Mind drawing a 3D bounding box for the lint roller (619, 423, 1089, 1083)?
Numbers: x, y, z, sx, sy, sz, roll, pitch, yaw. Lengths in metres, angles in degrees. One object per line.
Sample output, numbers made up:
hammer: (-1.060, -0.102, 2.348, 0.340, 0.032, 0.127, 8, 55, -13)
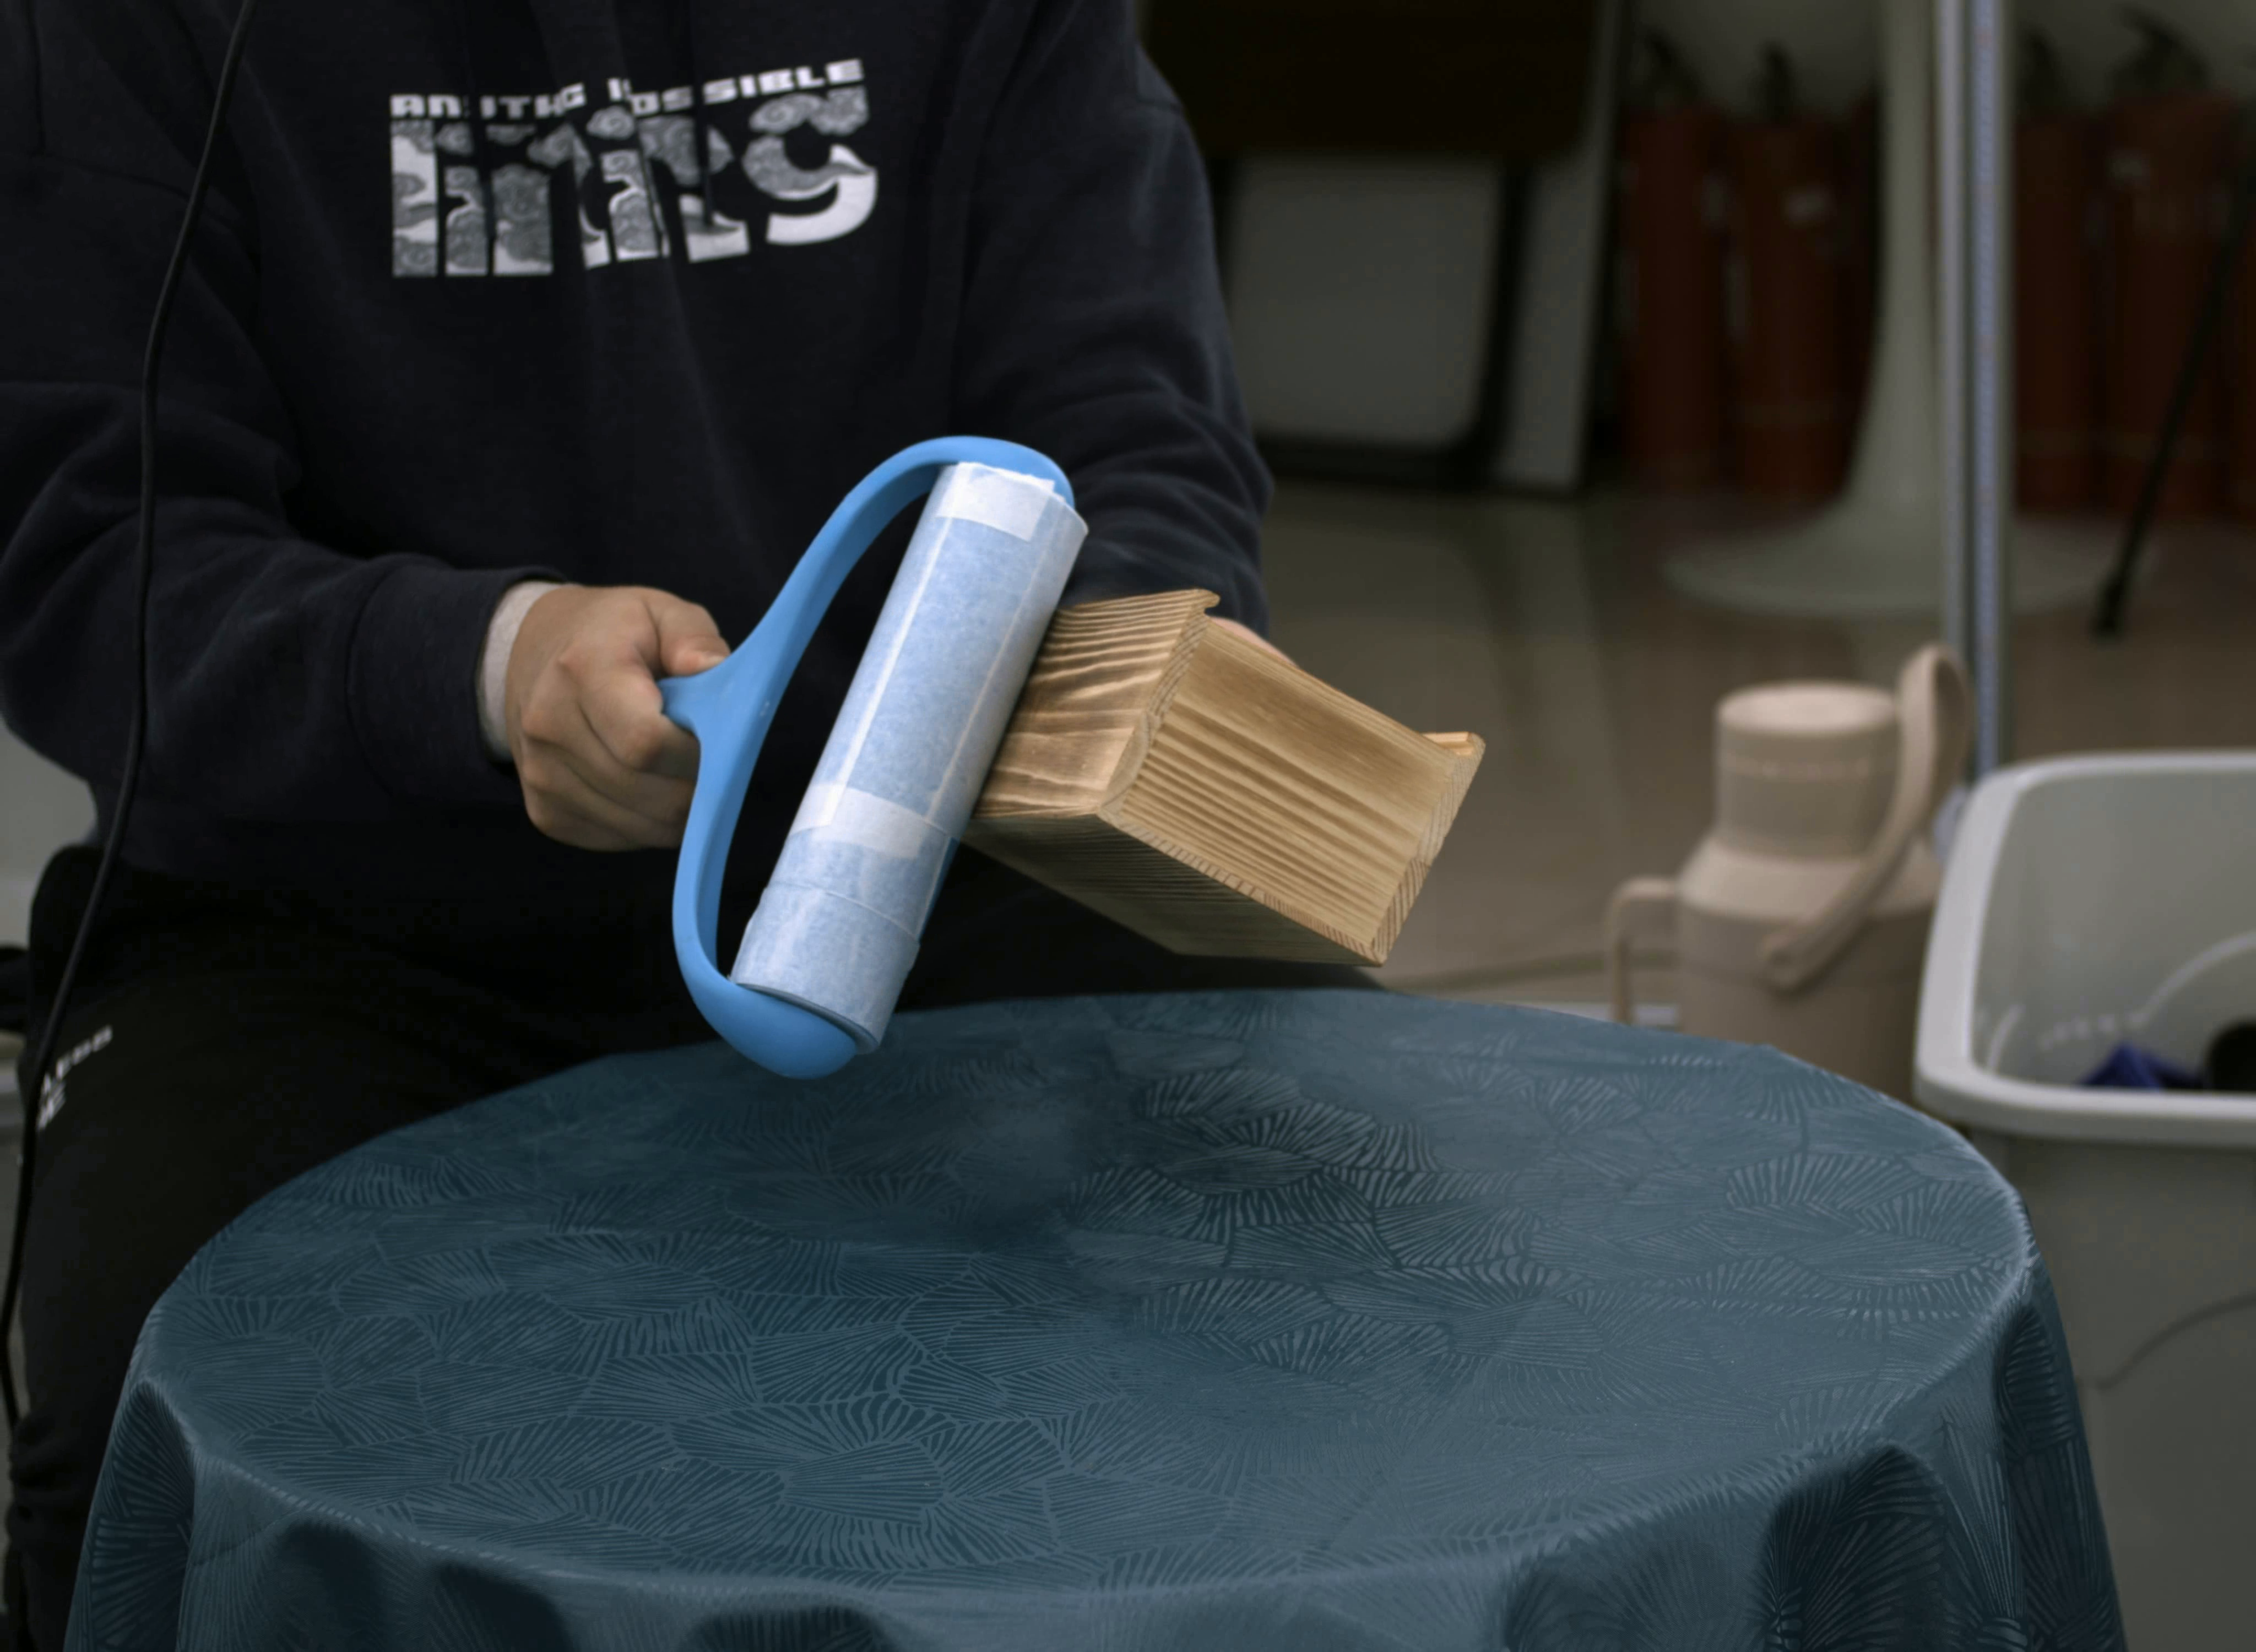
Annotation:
lint roller: (-0.117, -0.029, 1.800, 0.181, 0.231, 0.067, 5, -20, 38)

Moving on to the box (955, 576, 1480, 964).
box: (0.019, -0.016, 1.745, 0.106, 0.081, 0.213, 28, -8, -15)
